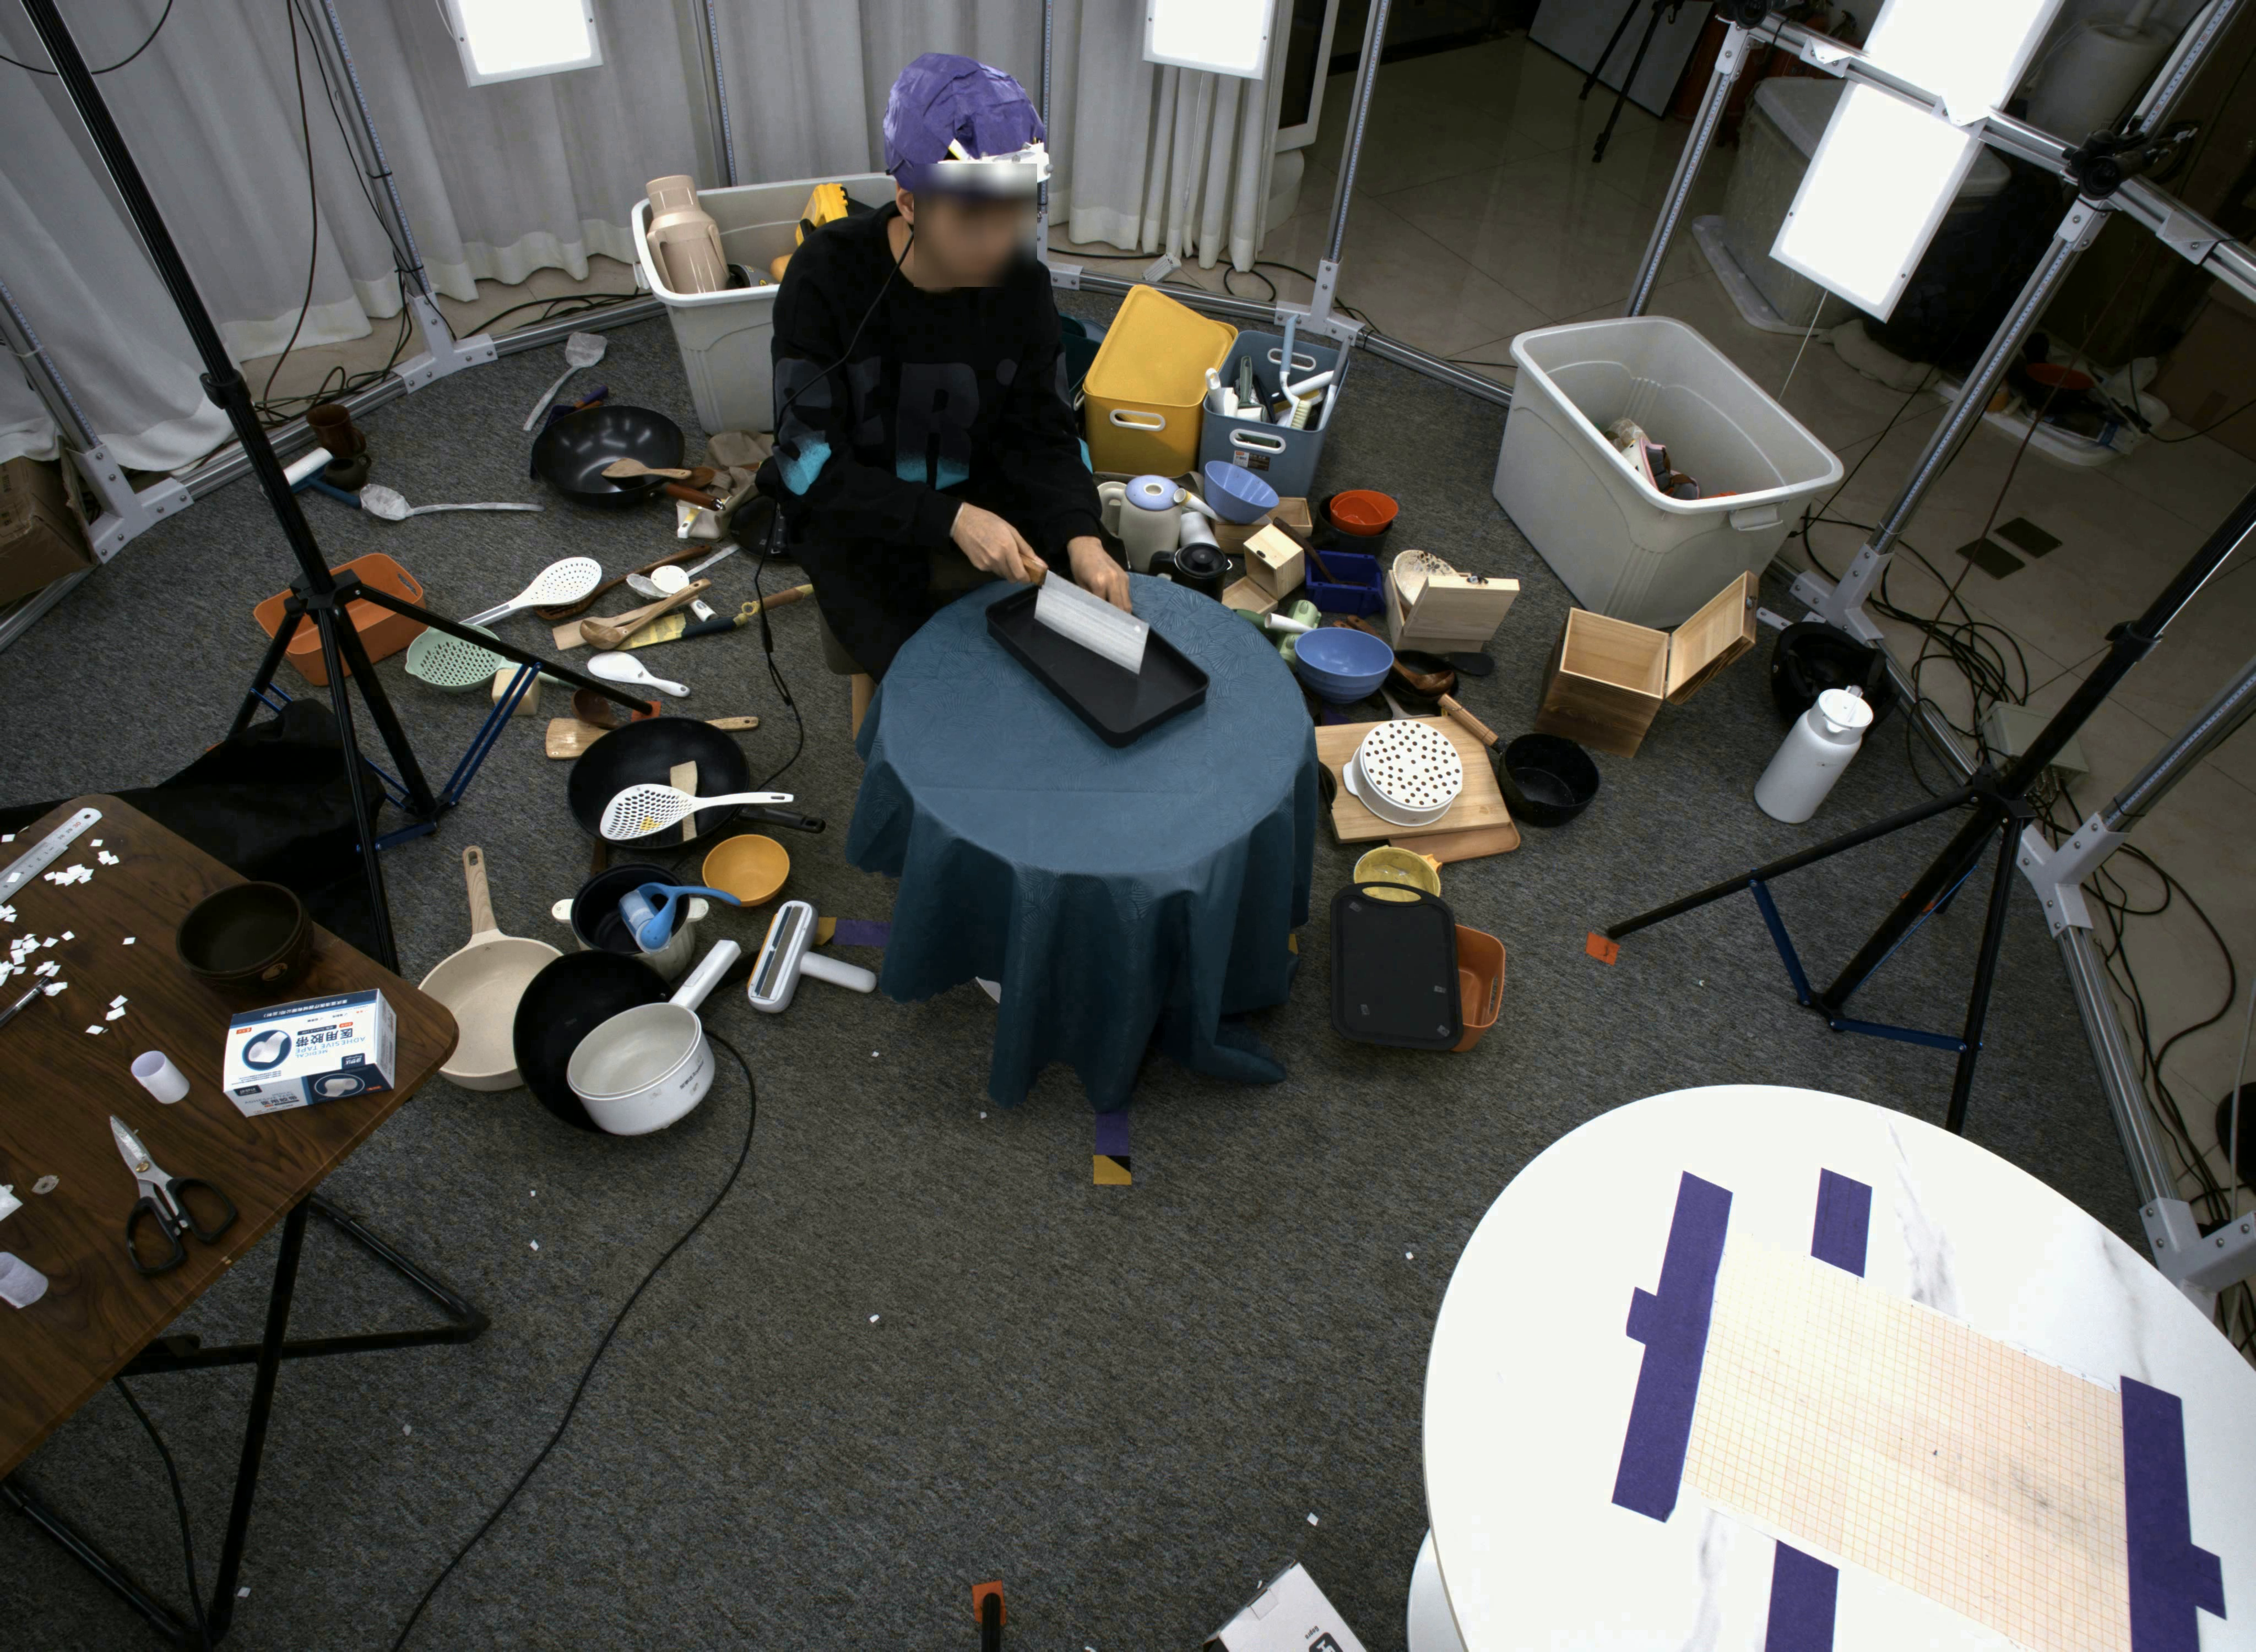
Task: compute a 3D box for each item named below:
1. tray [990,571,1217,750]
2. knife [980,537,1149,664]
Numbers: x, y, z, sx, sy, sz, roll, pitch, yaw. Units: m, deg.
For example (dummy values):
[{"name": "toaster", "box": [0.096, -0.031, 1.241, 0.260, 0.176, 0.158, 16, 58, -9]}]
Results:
[{"name": "tray", "box": [-0.038, -0.245, 1.856, 0.185, 0.036, 0.323, -32, 58, -27]}, {"name": "knife", "box": [-0.097, -0.324, 1.869, 0.309, 0.091, 0.021, 31, 44, 21]}]
